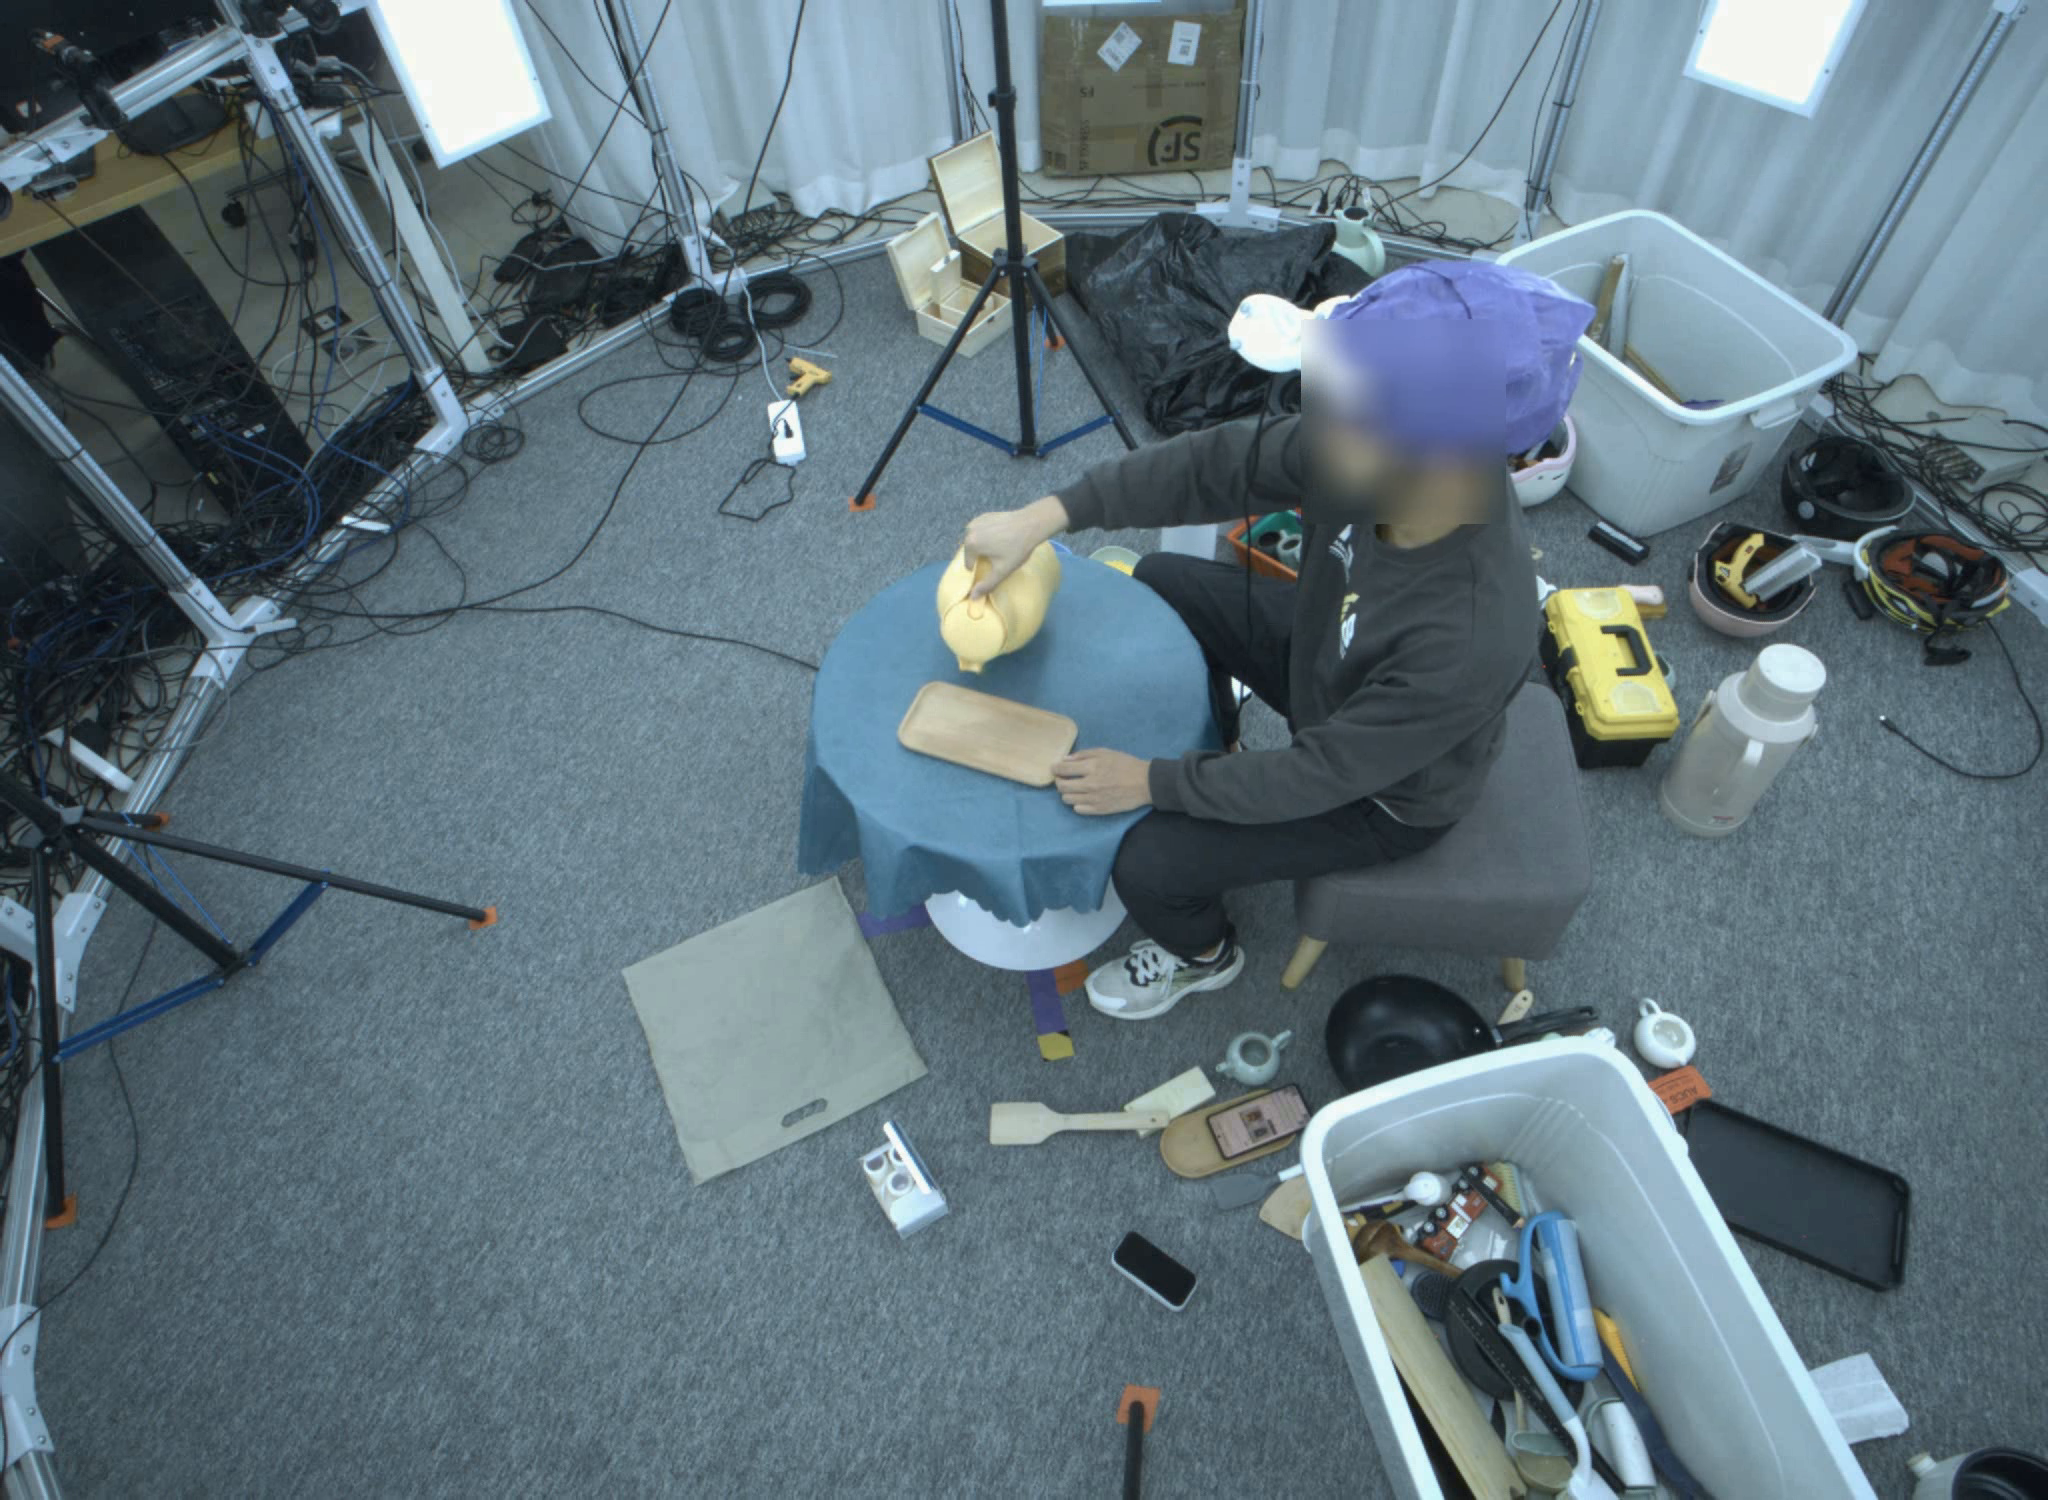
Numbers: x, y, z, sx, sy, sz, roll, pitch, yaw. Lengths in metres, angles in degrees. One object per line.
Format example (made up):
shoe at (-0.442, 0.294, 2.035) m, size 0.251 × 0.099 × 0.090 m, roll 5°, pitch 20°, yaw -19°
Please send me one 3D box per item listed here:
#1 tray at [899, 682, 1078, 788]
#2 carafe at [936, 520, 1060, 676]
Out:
tray at (-0.052, -0.023, 1.793) m, size 0.248 × 0.023 × 0.130 m, roll 18°, pitch 59°, yaw 13°
carafe at (-0.041, -0.238, 1.776) m, size 0.163 × 0.203 × 0.259 m, roll 14°, pitch 34°, yaw 3°
